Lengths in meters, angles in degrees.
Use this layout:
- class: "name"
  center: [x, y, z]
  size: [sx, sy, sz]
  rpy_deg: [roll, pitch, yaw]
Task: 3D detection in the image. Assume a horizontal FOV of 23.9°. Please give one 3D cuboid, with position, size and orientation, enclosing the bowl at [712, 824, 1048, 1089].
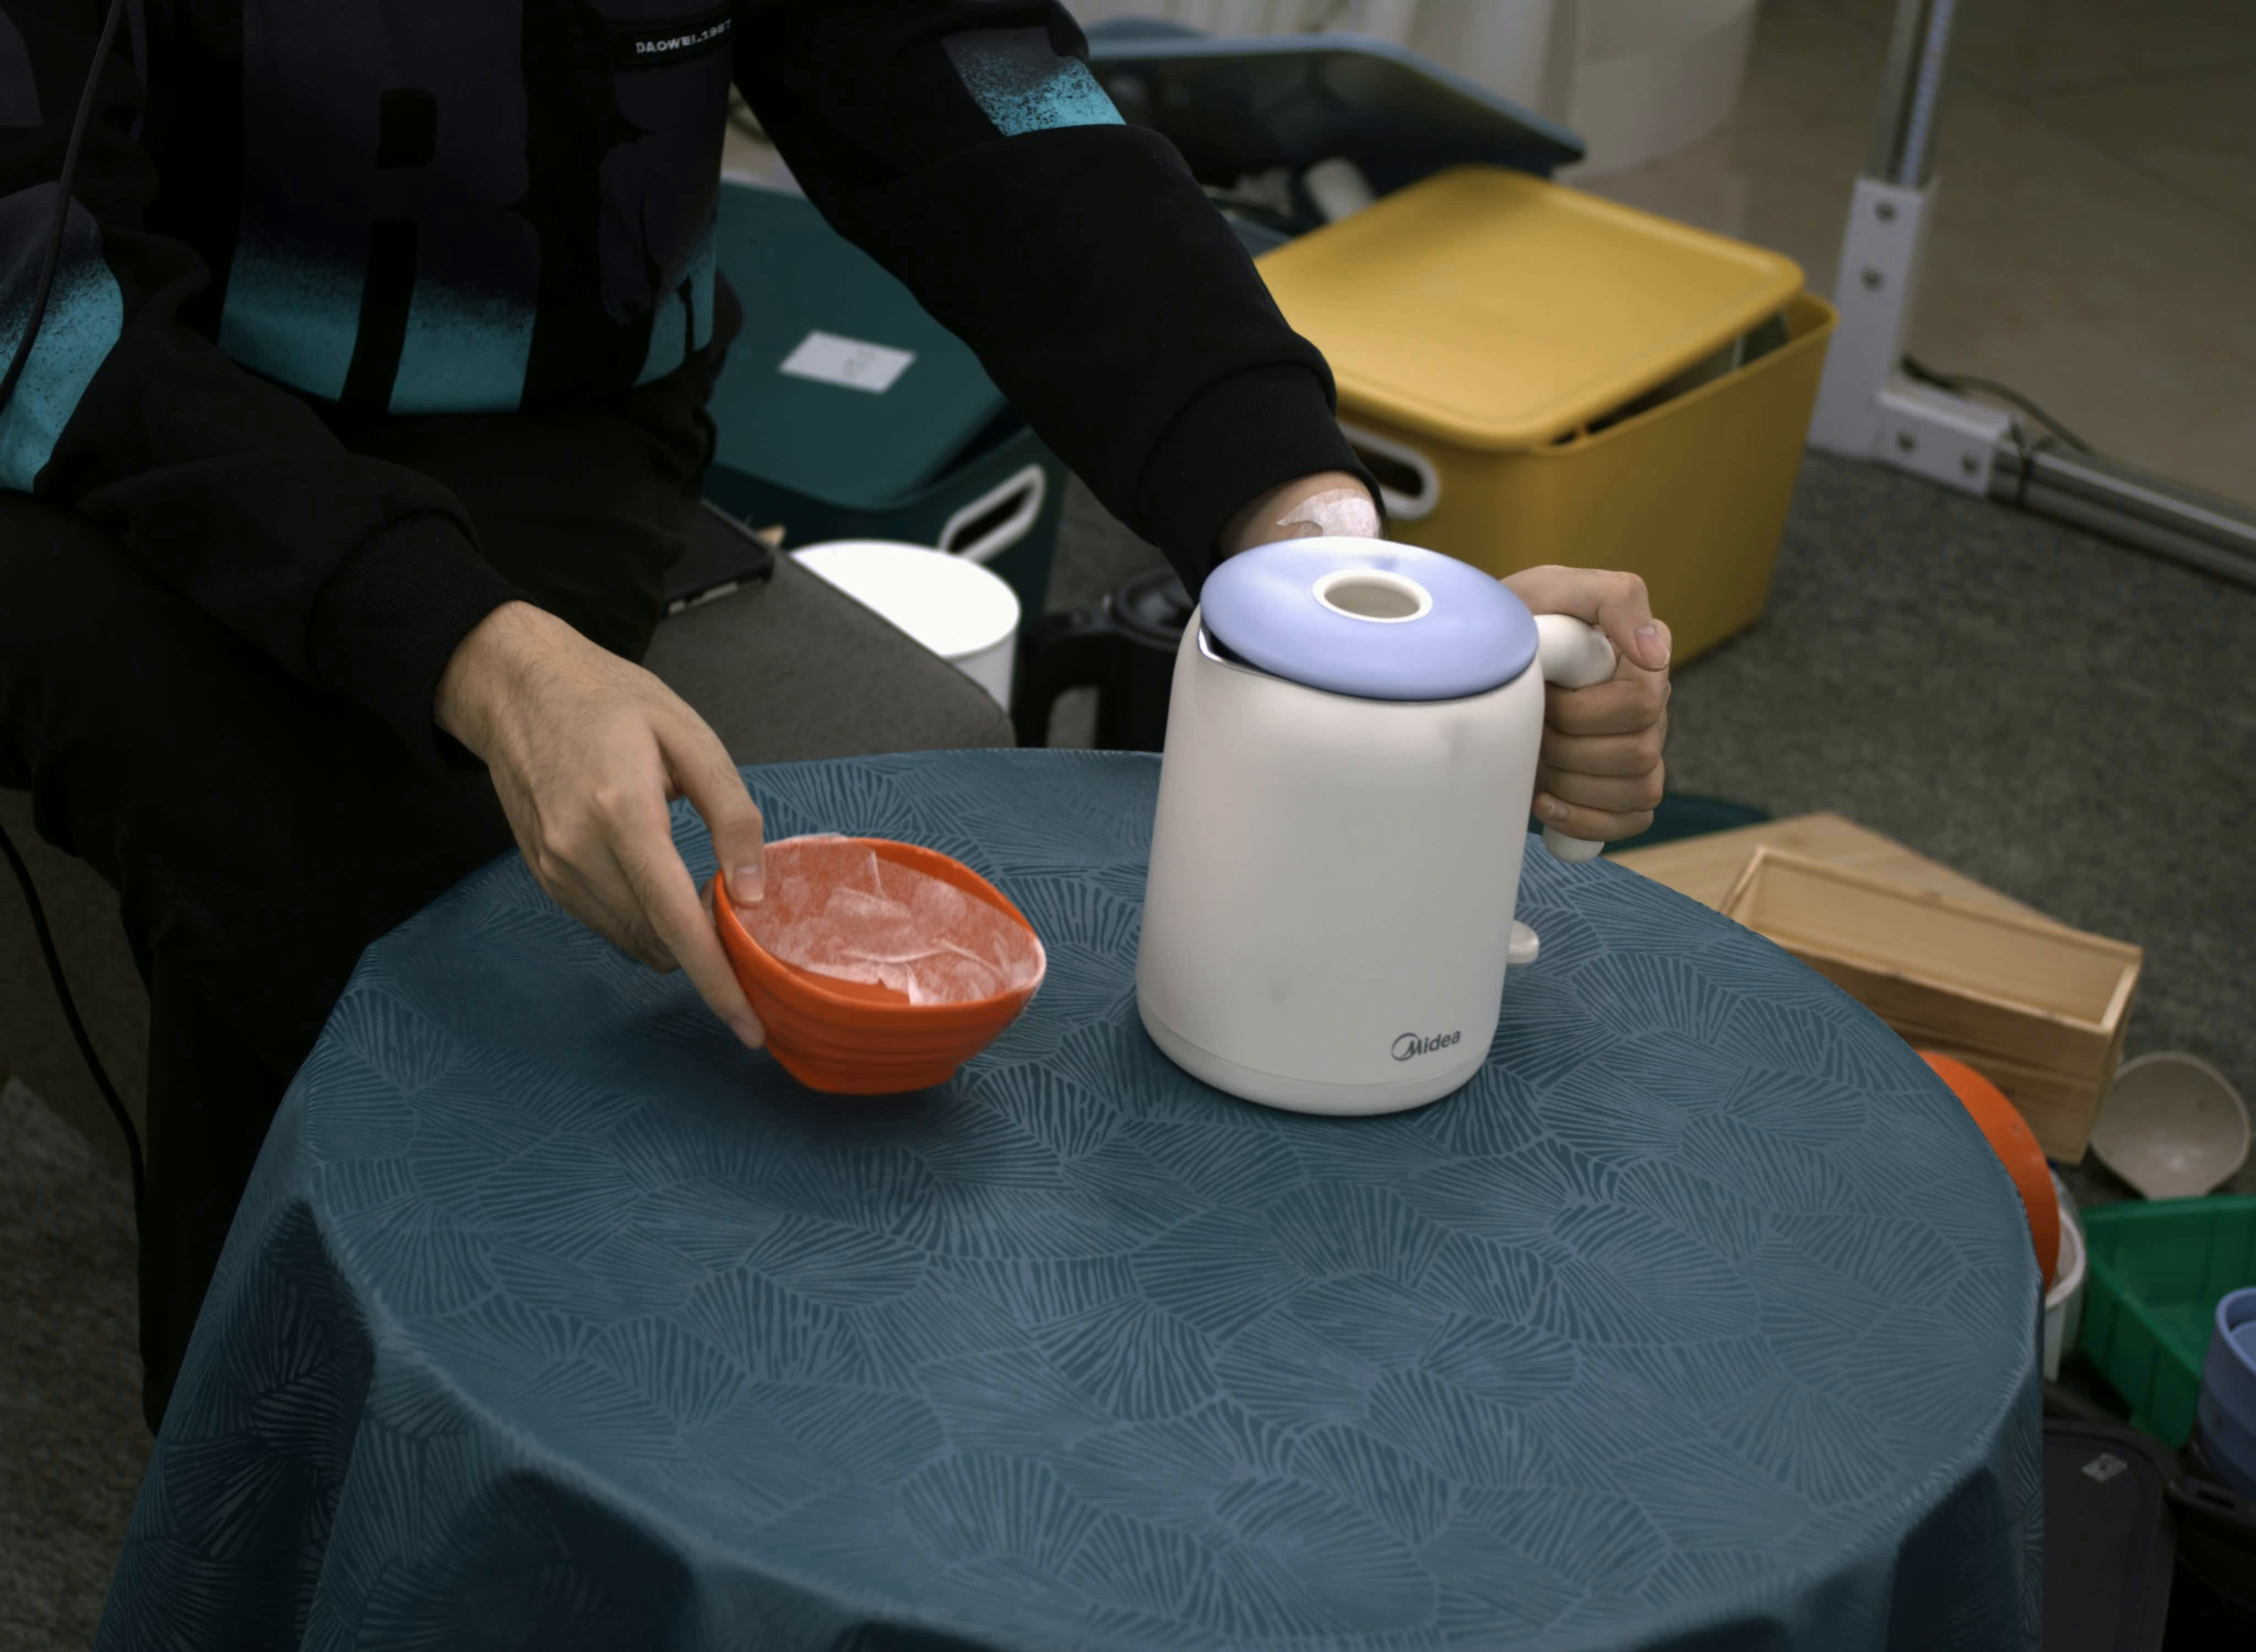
- class: "bowl"
  center: [-0.089, 0.050, 1.827]
  size: [0.118, 0.051, 0.120]
  rpy_deg: [10, 30, -6]

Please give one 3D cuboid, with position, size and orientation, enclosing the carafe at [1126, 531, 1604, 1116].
- class: "carafe"
  center: [0.093, -0.005, 1.885]
  size: [0.190, 0.182, 0.133]
  rpy_deg: [-10, 32, -34]
